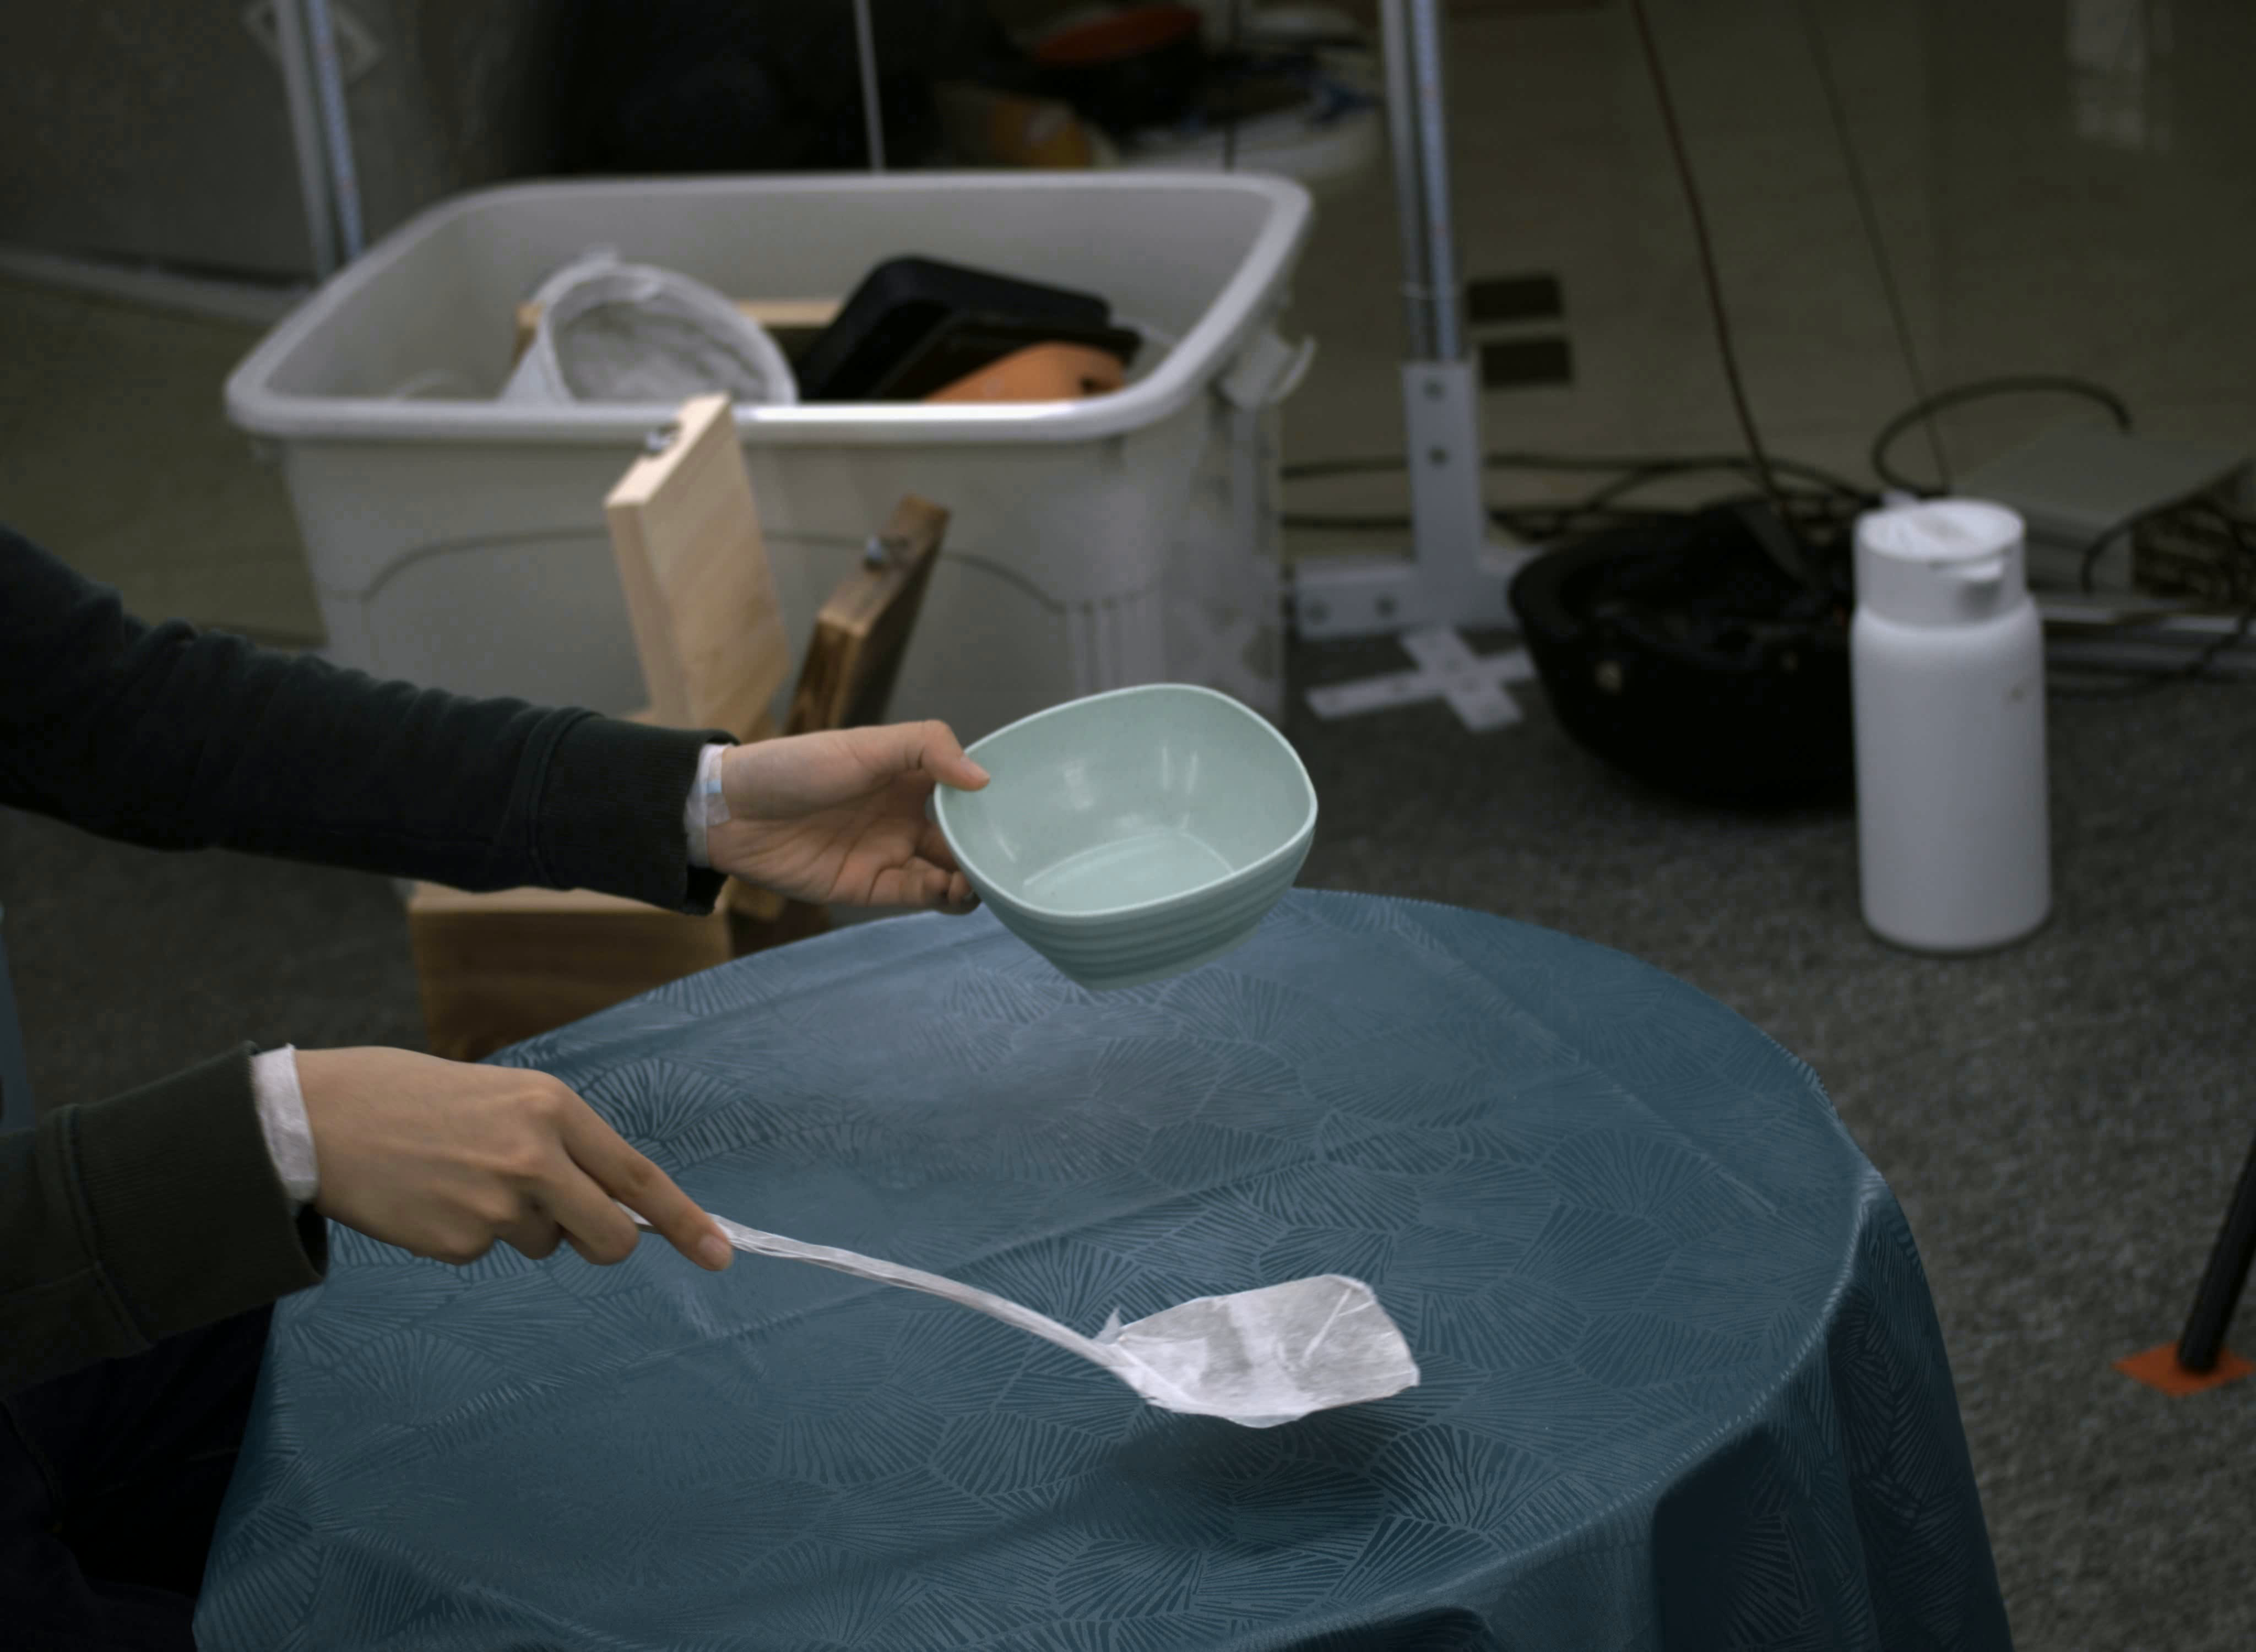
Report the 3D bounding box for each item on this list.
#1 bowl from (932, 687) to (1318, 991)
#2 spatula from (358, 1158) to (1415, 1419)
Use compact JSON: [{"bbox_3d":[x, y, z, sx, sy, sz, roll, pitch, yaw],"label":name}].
[{"bbox_3d":[0.000,0.012,2.168,0.151,0.060,0.149,-2,37,2],"label":"bowl"},{"bbox_3d":[-0.079,0.147,1.918,0.365,0.045,0.097,16,19,-16],"label":"spatula"}]
